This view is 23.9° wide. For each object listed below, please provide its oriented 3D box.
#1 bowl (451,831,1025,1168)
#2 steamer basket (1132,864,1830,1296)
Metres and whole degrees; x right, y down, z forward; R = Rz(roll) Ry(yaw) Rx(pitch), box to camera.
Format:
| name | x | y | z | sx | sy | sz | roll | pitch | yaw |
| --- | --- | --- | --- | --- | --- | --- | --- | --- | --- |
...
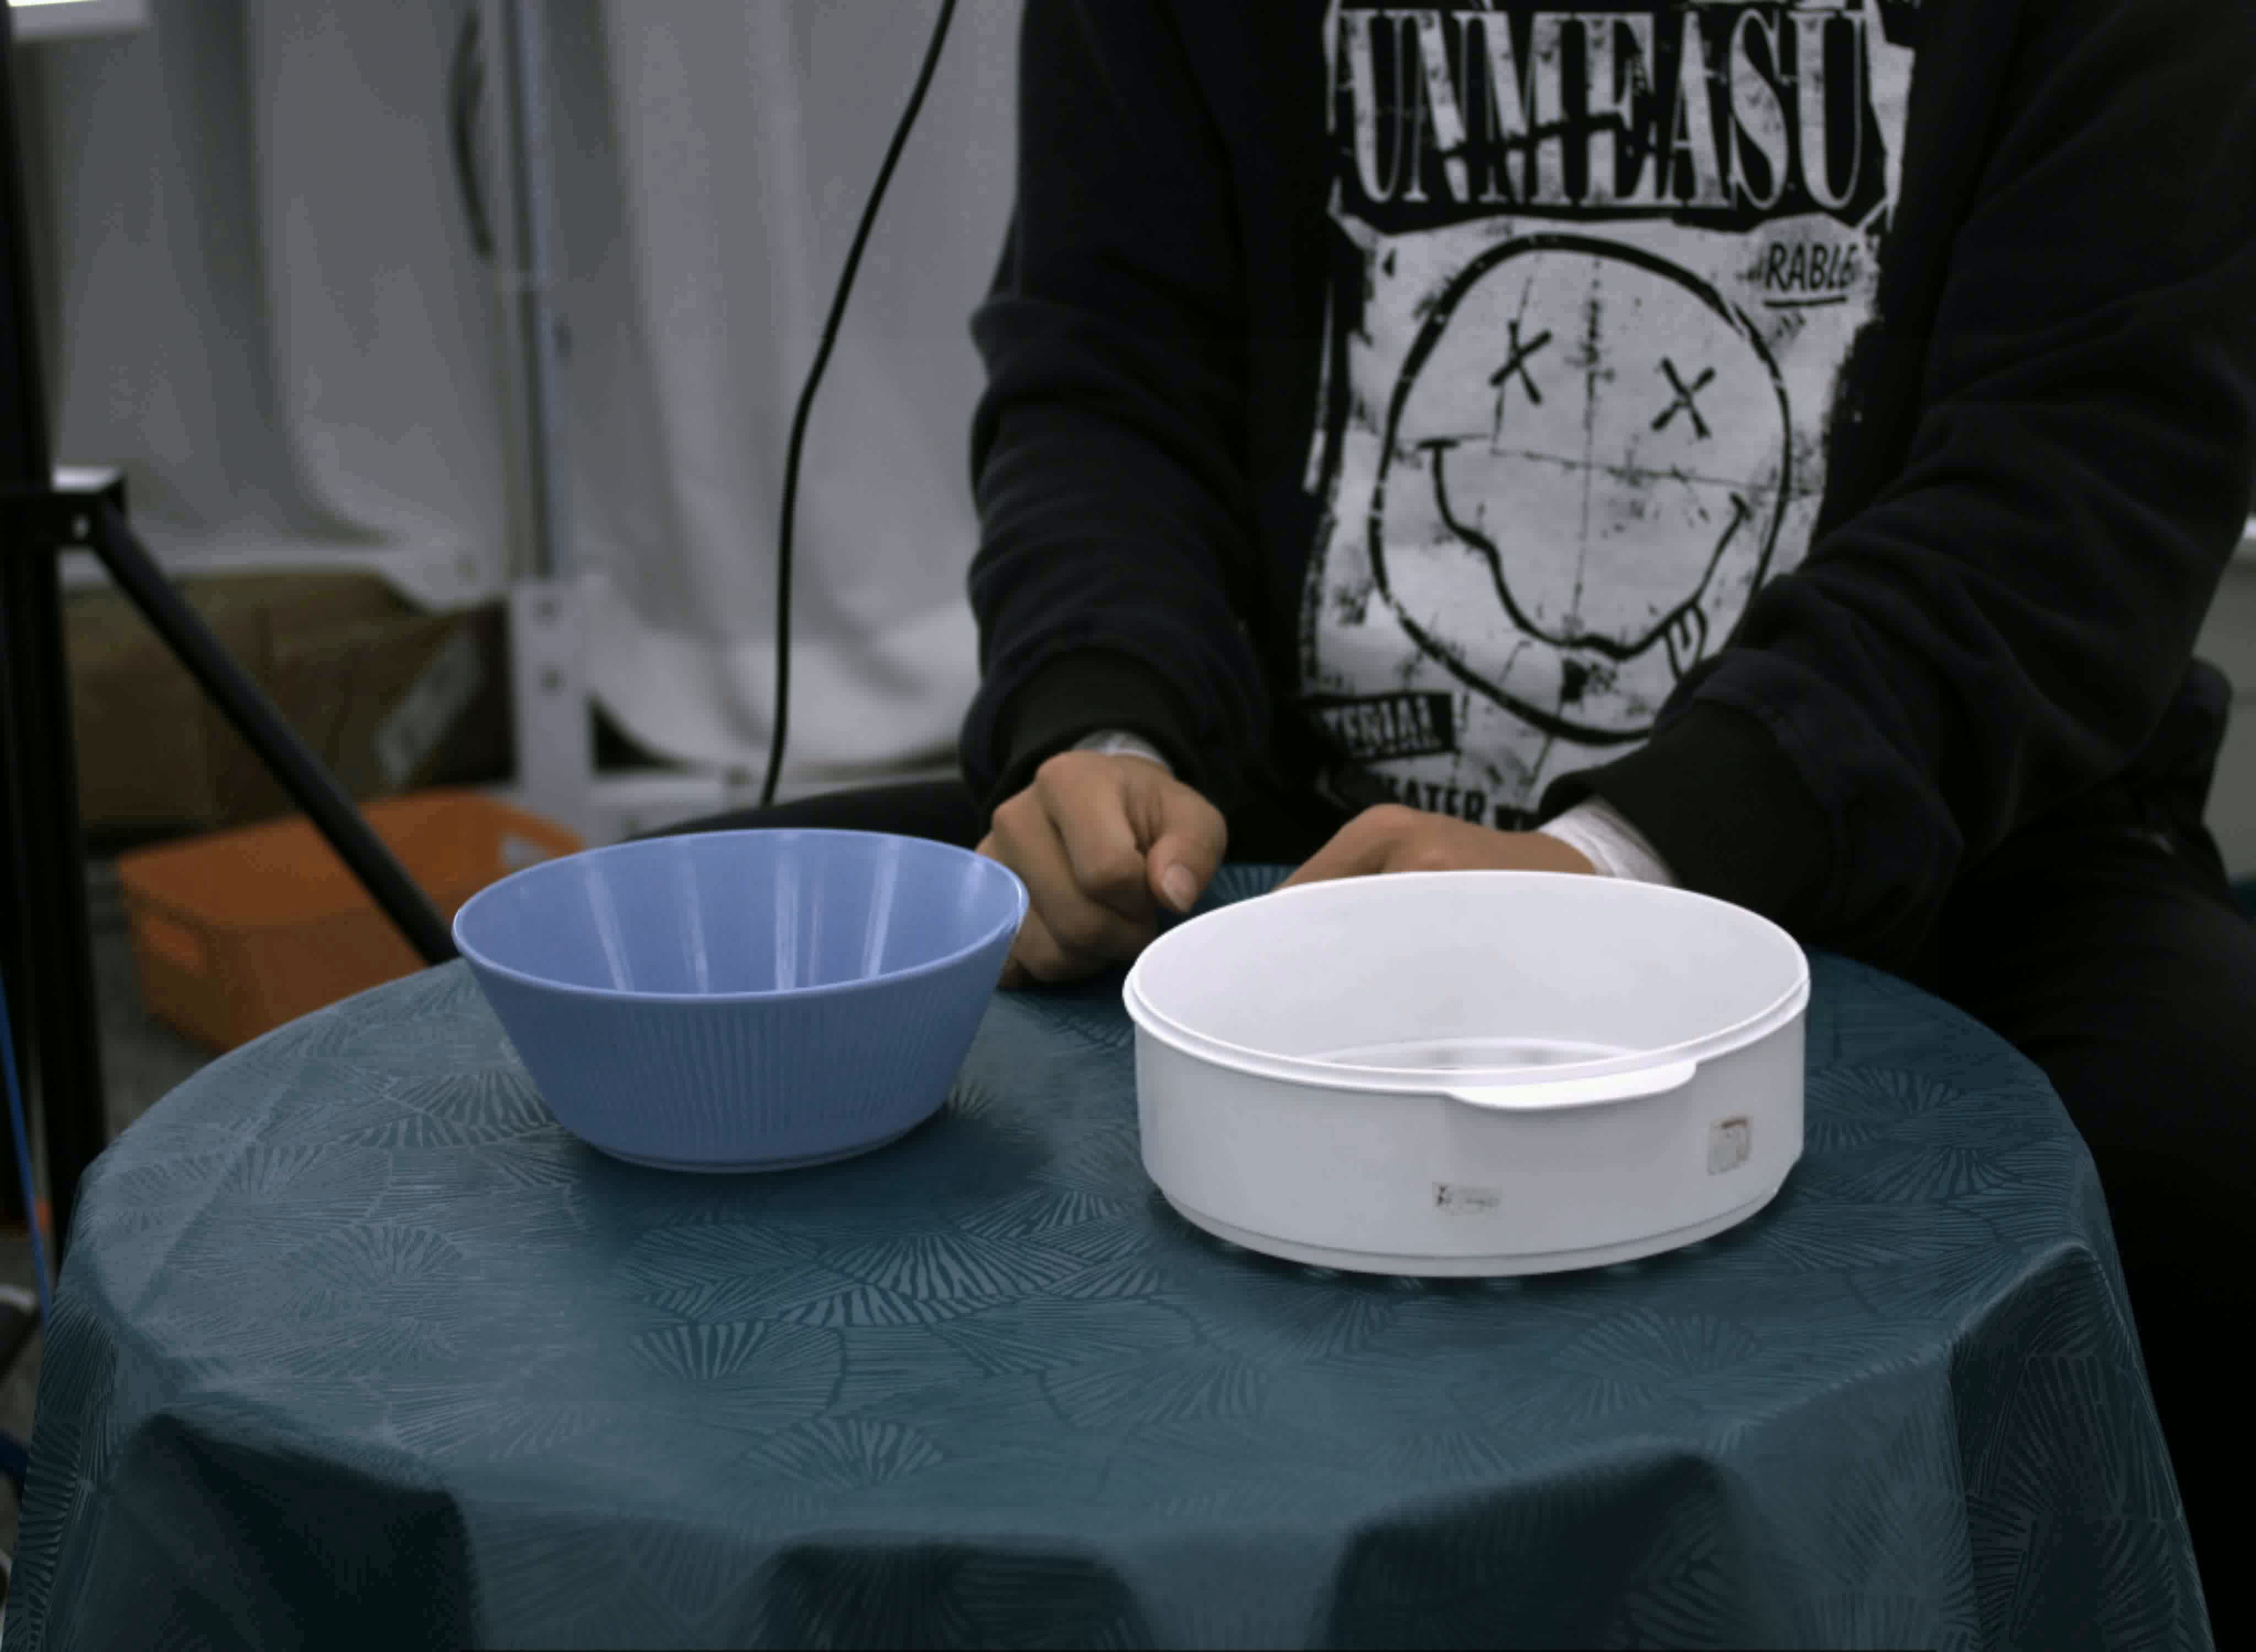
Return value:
| name | x | y | z | sx | sy | sz | roll | pitch | yaw |
| --- | --- | --- | --- | --- | --- | --- | --- | --- | --- |
| bowl | -0.118 | 0.055 | 1.634 | 0.175 | 0.070 | 0.177 | -2 | 16 | -1 |
| steamer basket | 0.102 | 0.073 | 1.538 | 0.199 | 0.069 | 0.234 | -6 | 18 | -12 |
